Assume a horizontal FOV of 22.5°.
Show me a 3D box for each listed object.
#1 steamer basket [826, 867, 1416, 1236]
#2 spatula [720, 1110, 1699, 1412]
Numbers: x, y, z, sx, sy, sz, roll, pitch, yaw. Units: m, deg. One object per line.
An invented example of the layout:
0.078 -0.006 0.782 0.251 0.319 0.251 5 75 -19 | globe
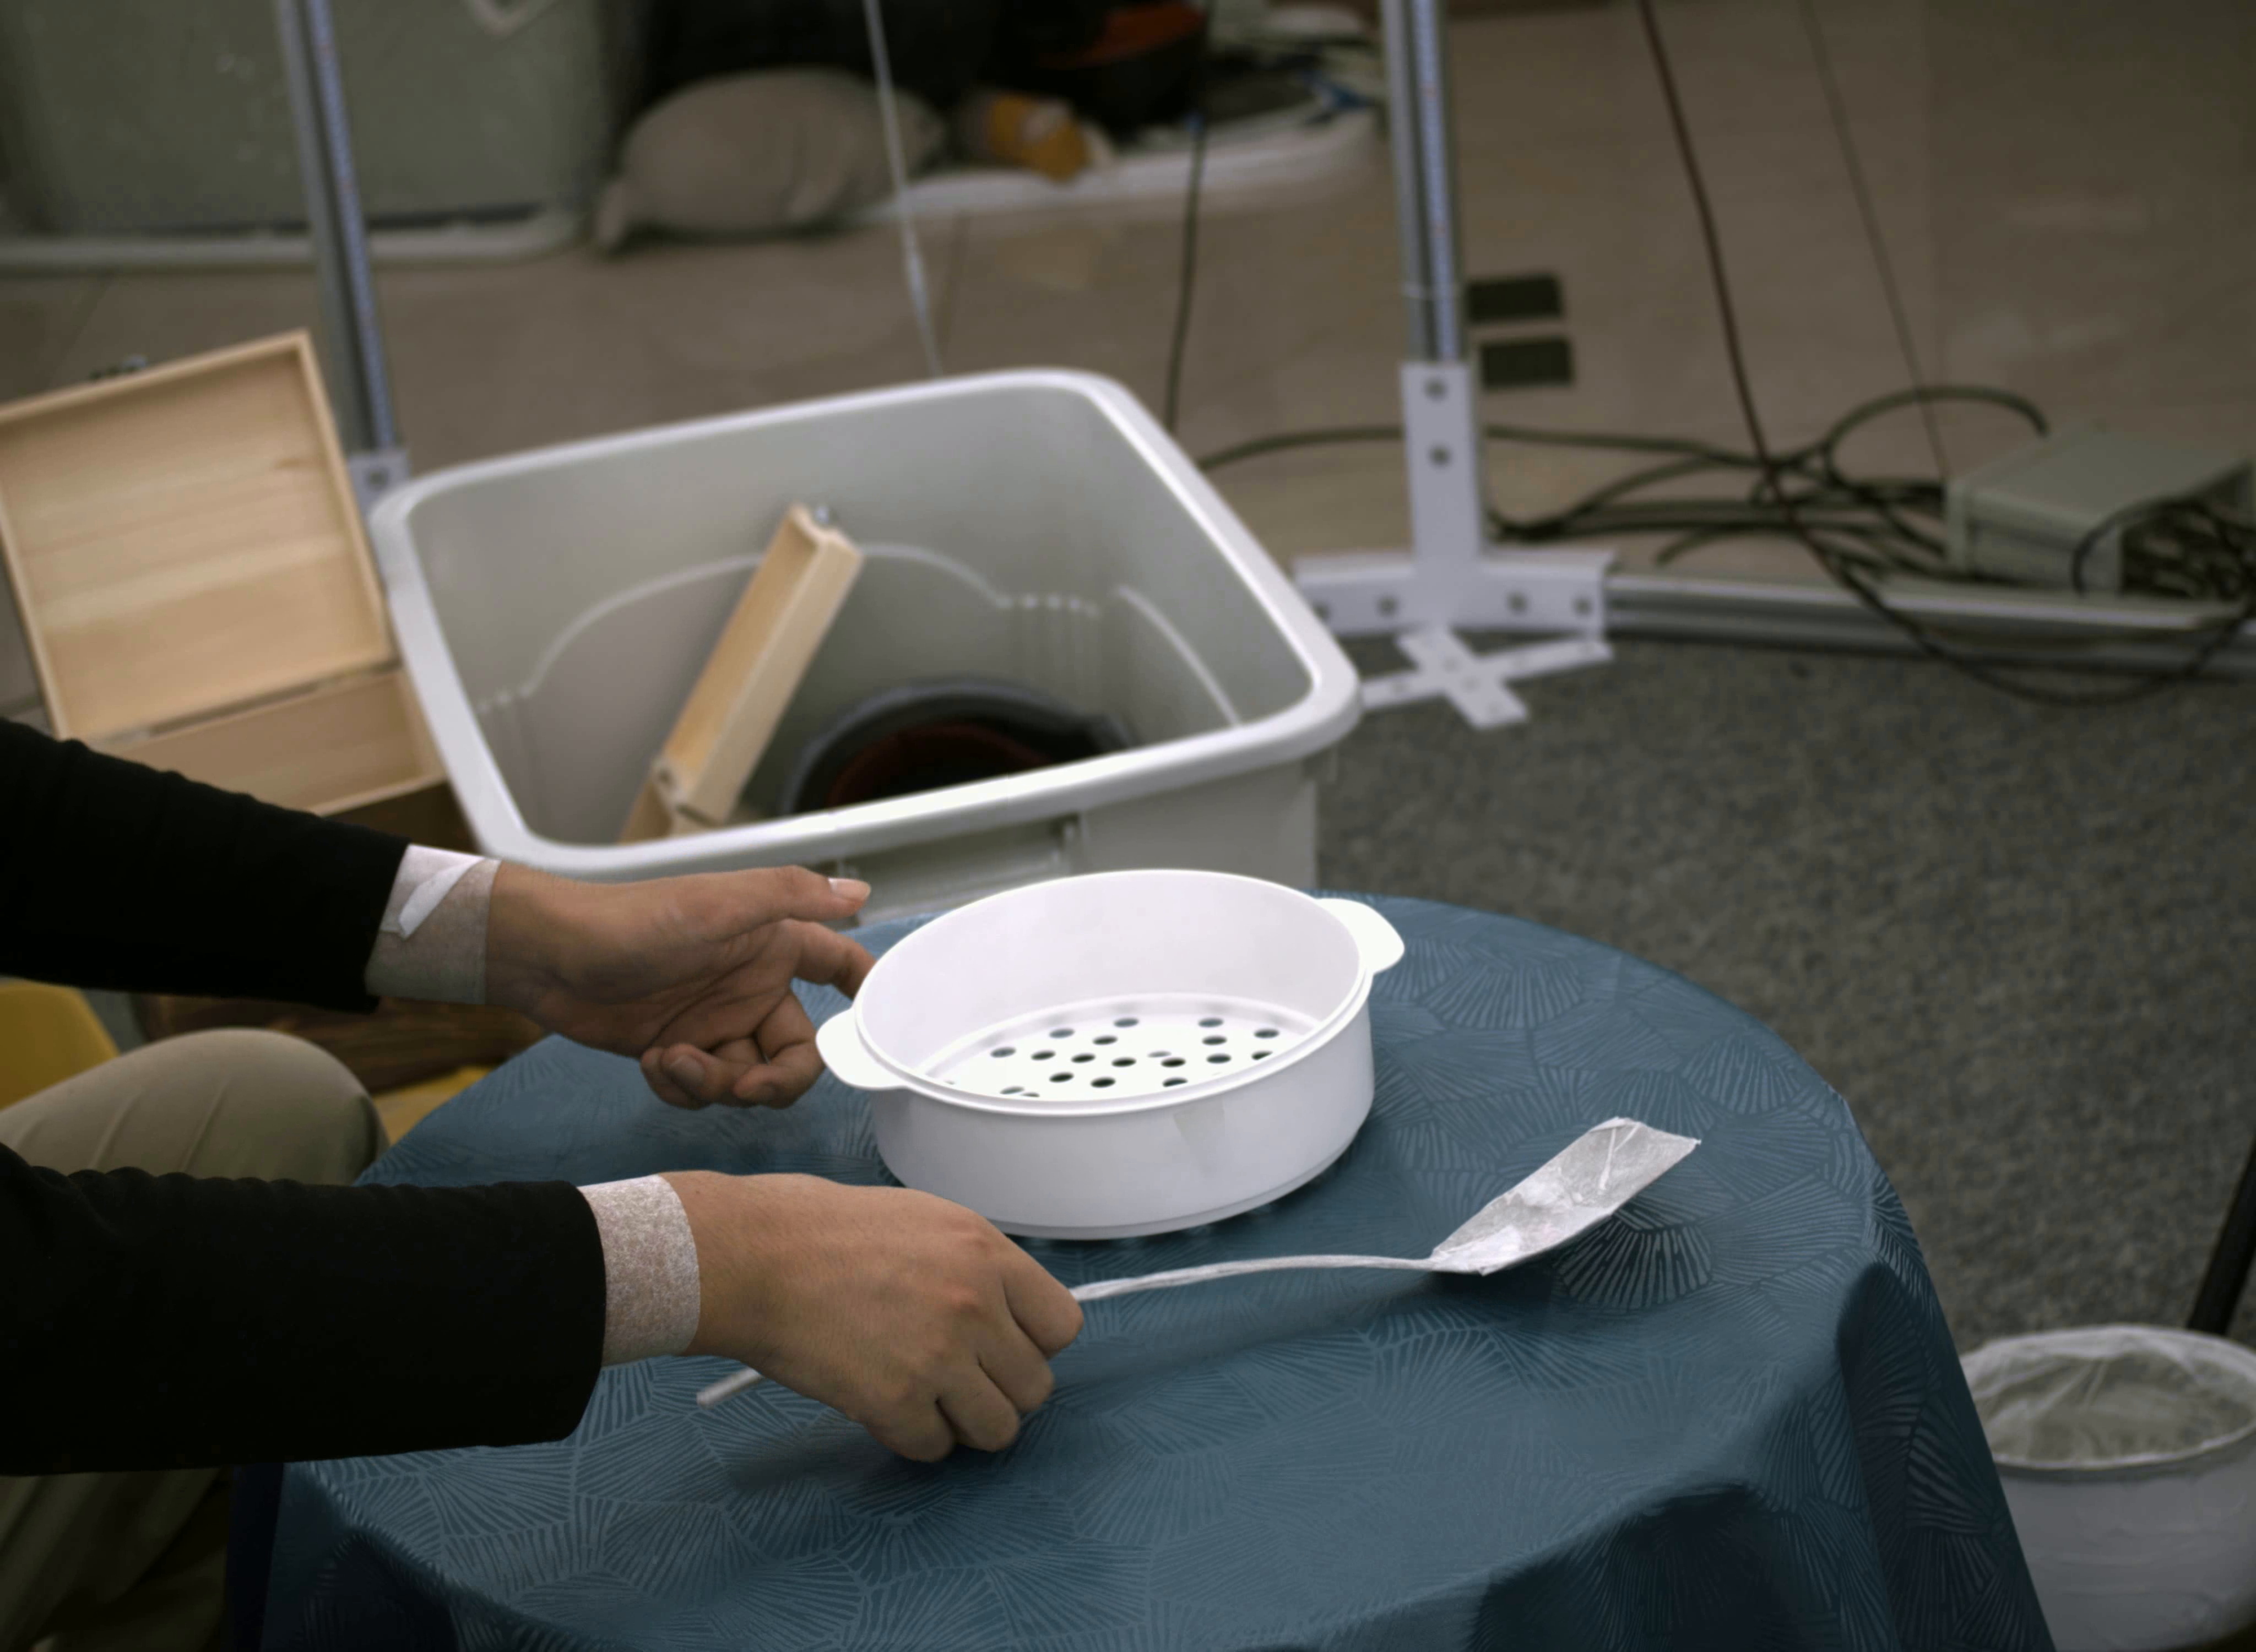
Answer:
0.002 0.087 2.176 0.230 0.070 0.199 -14 25 -13 | steamer basket
0.030 0.158 2.034 0.364 0.045 0.098 -9 9 -12 | spatula
